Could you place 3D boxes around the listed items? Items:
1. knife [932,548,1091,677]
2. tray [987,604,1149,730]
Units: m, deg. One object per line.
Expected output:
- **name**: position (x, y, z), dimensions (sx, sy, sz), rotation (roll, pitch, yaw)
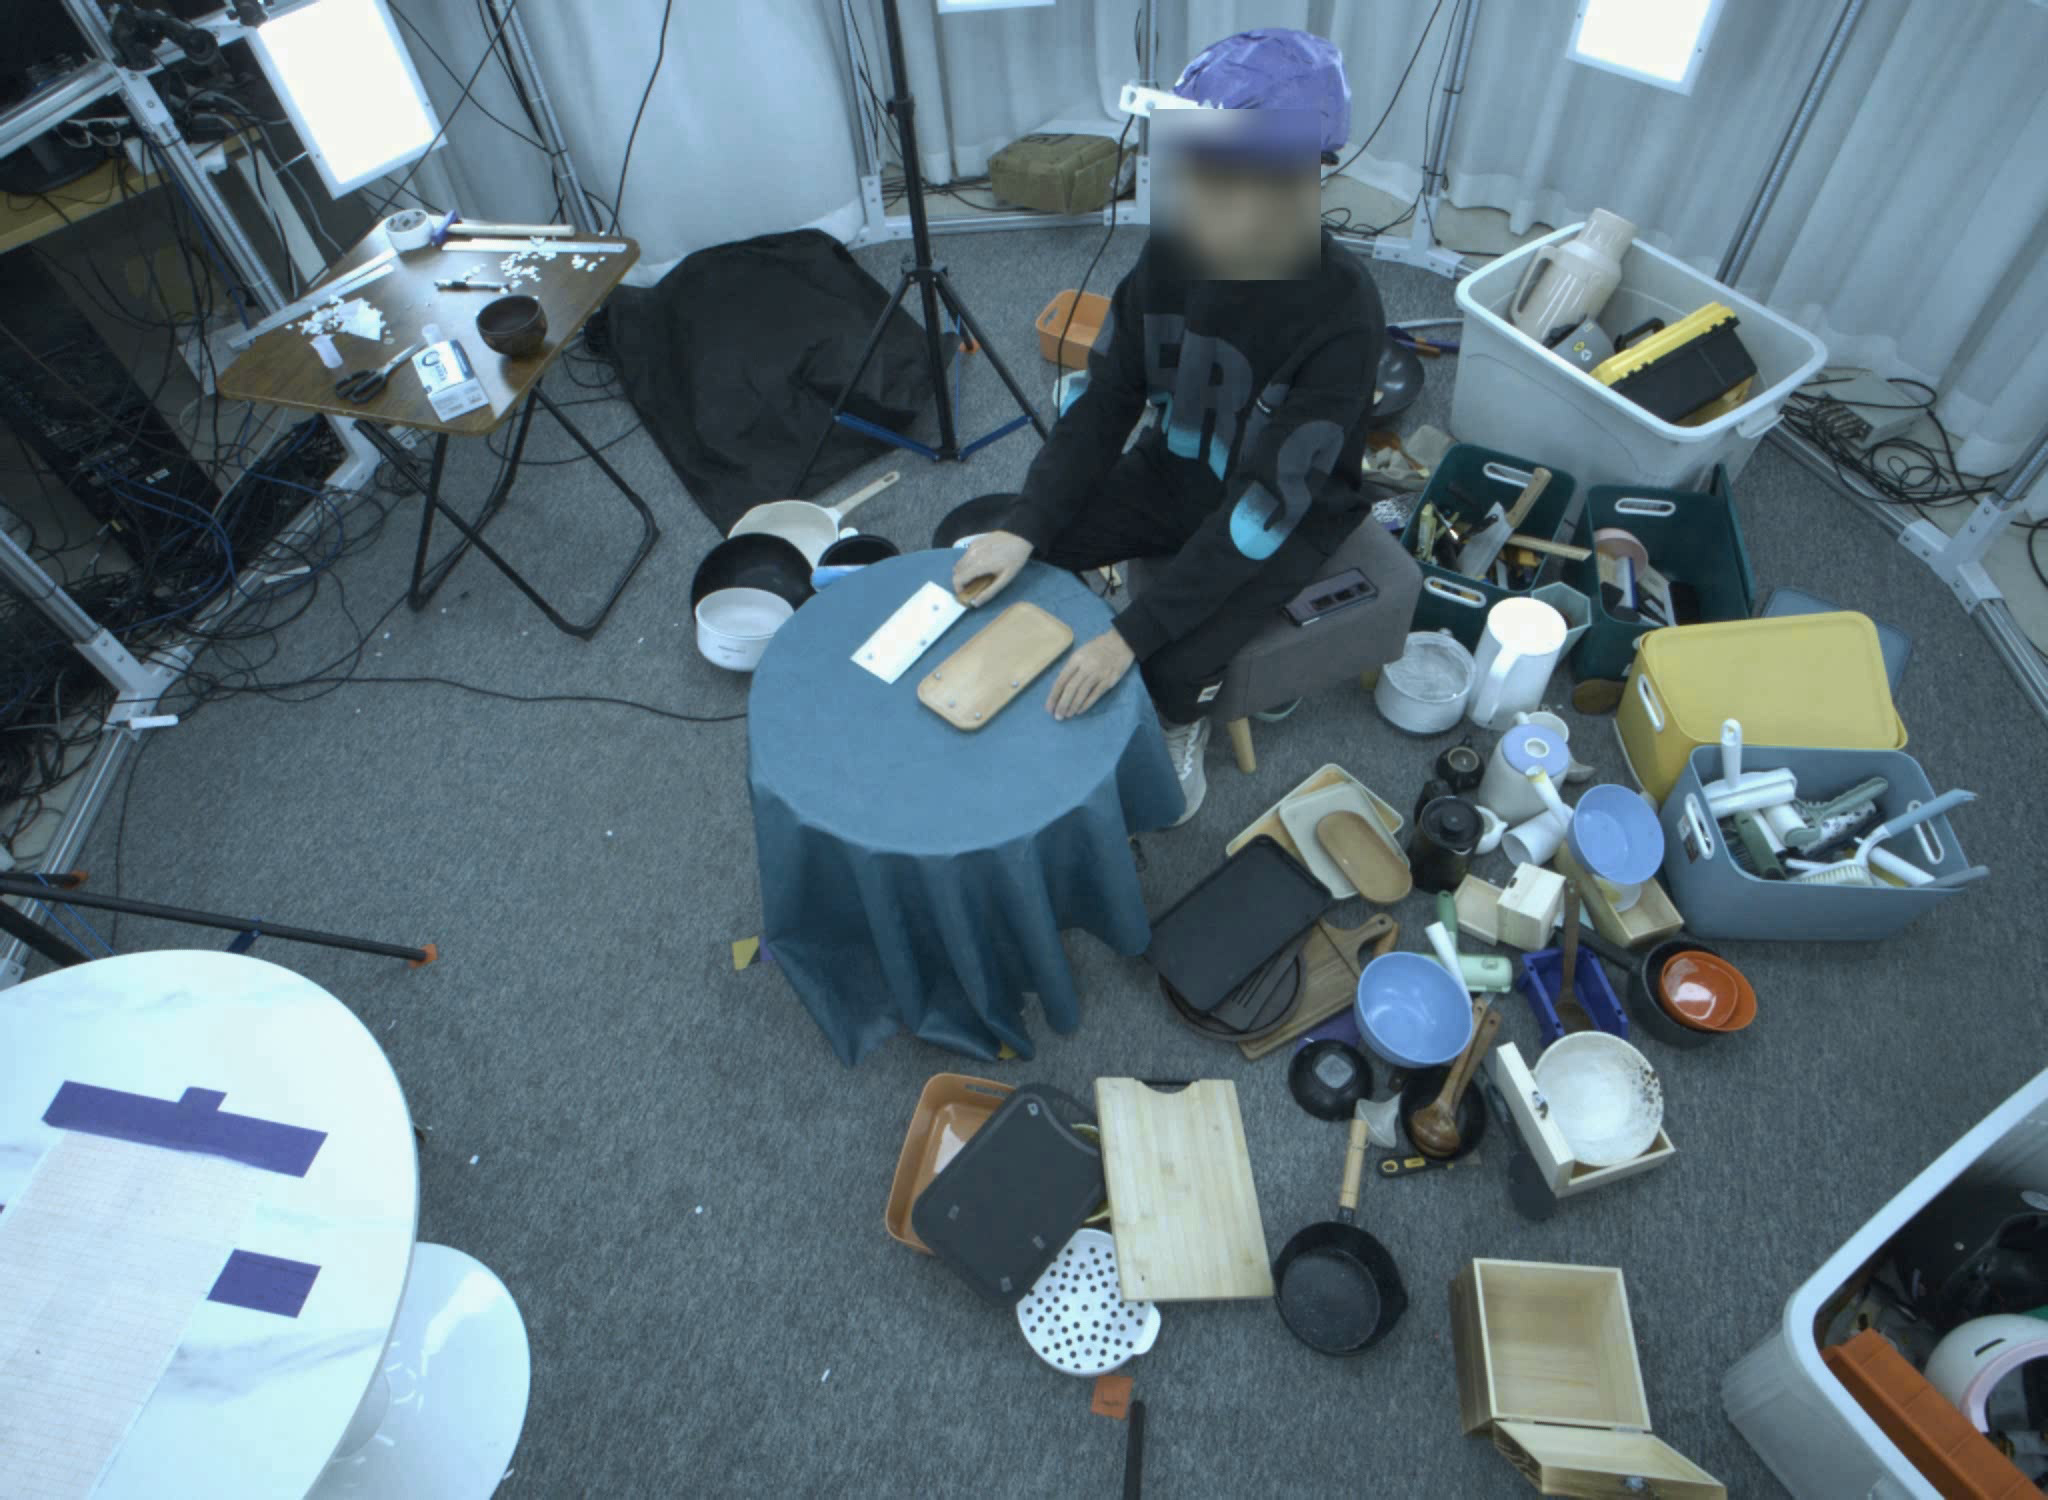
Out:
- **knife**: position (-0.024, -0.230, 1.936), dimensions (0.091, 0.021, 0.307), rotation (36, 68, 25)
- **tray**: position (0.068, -0.128, 1.865), dimensions (0.252, 0.023, 0.128), rotation (-37, 63, -22)
